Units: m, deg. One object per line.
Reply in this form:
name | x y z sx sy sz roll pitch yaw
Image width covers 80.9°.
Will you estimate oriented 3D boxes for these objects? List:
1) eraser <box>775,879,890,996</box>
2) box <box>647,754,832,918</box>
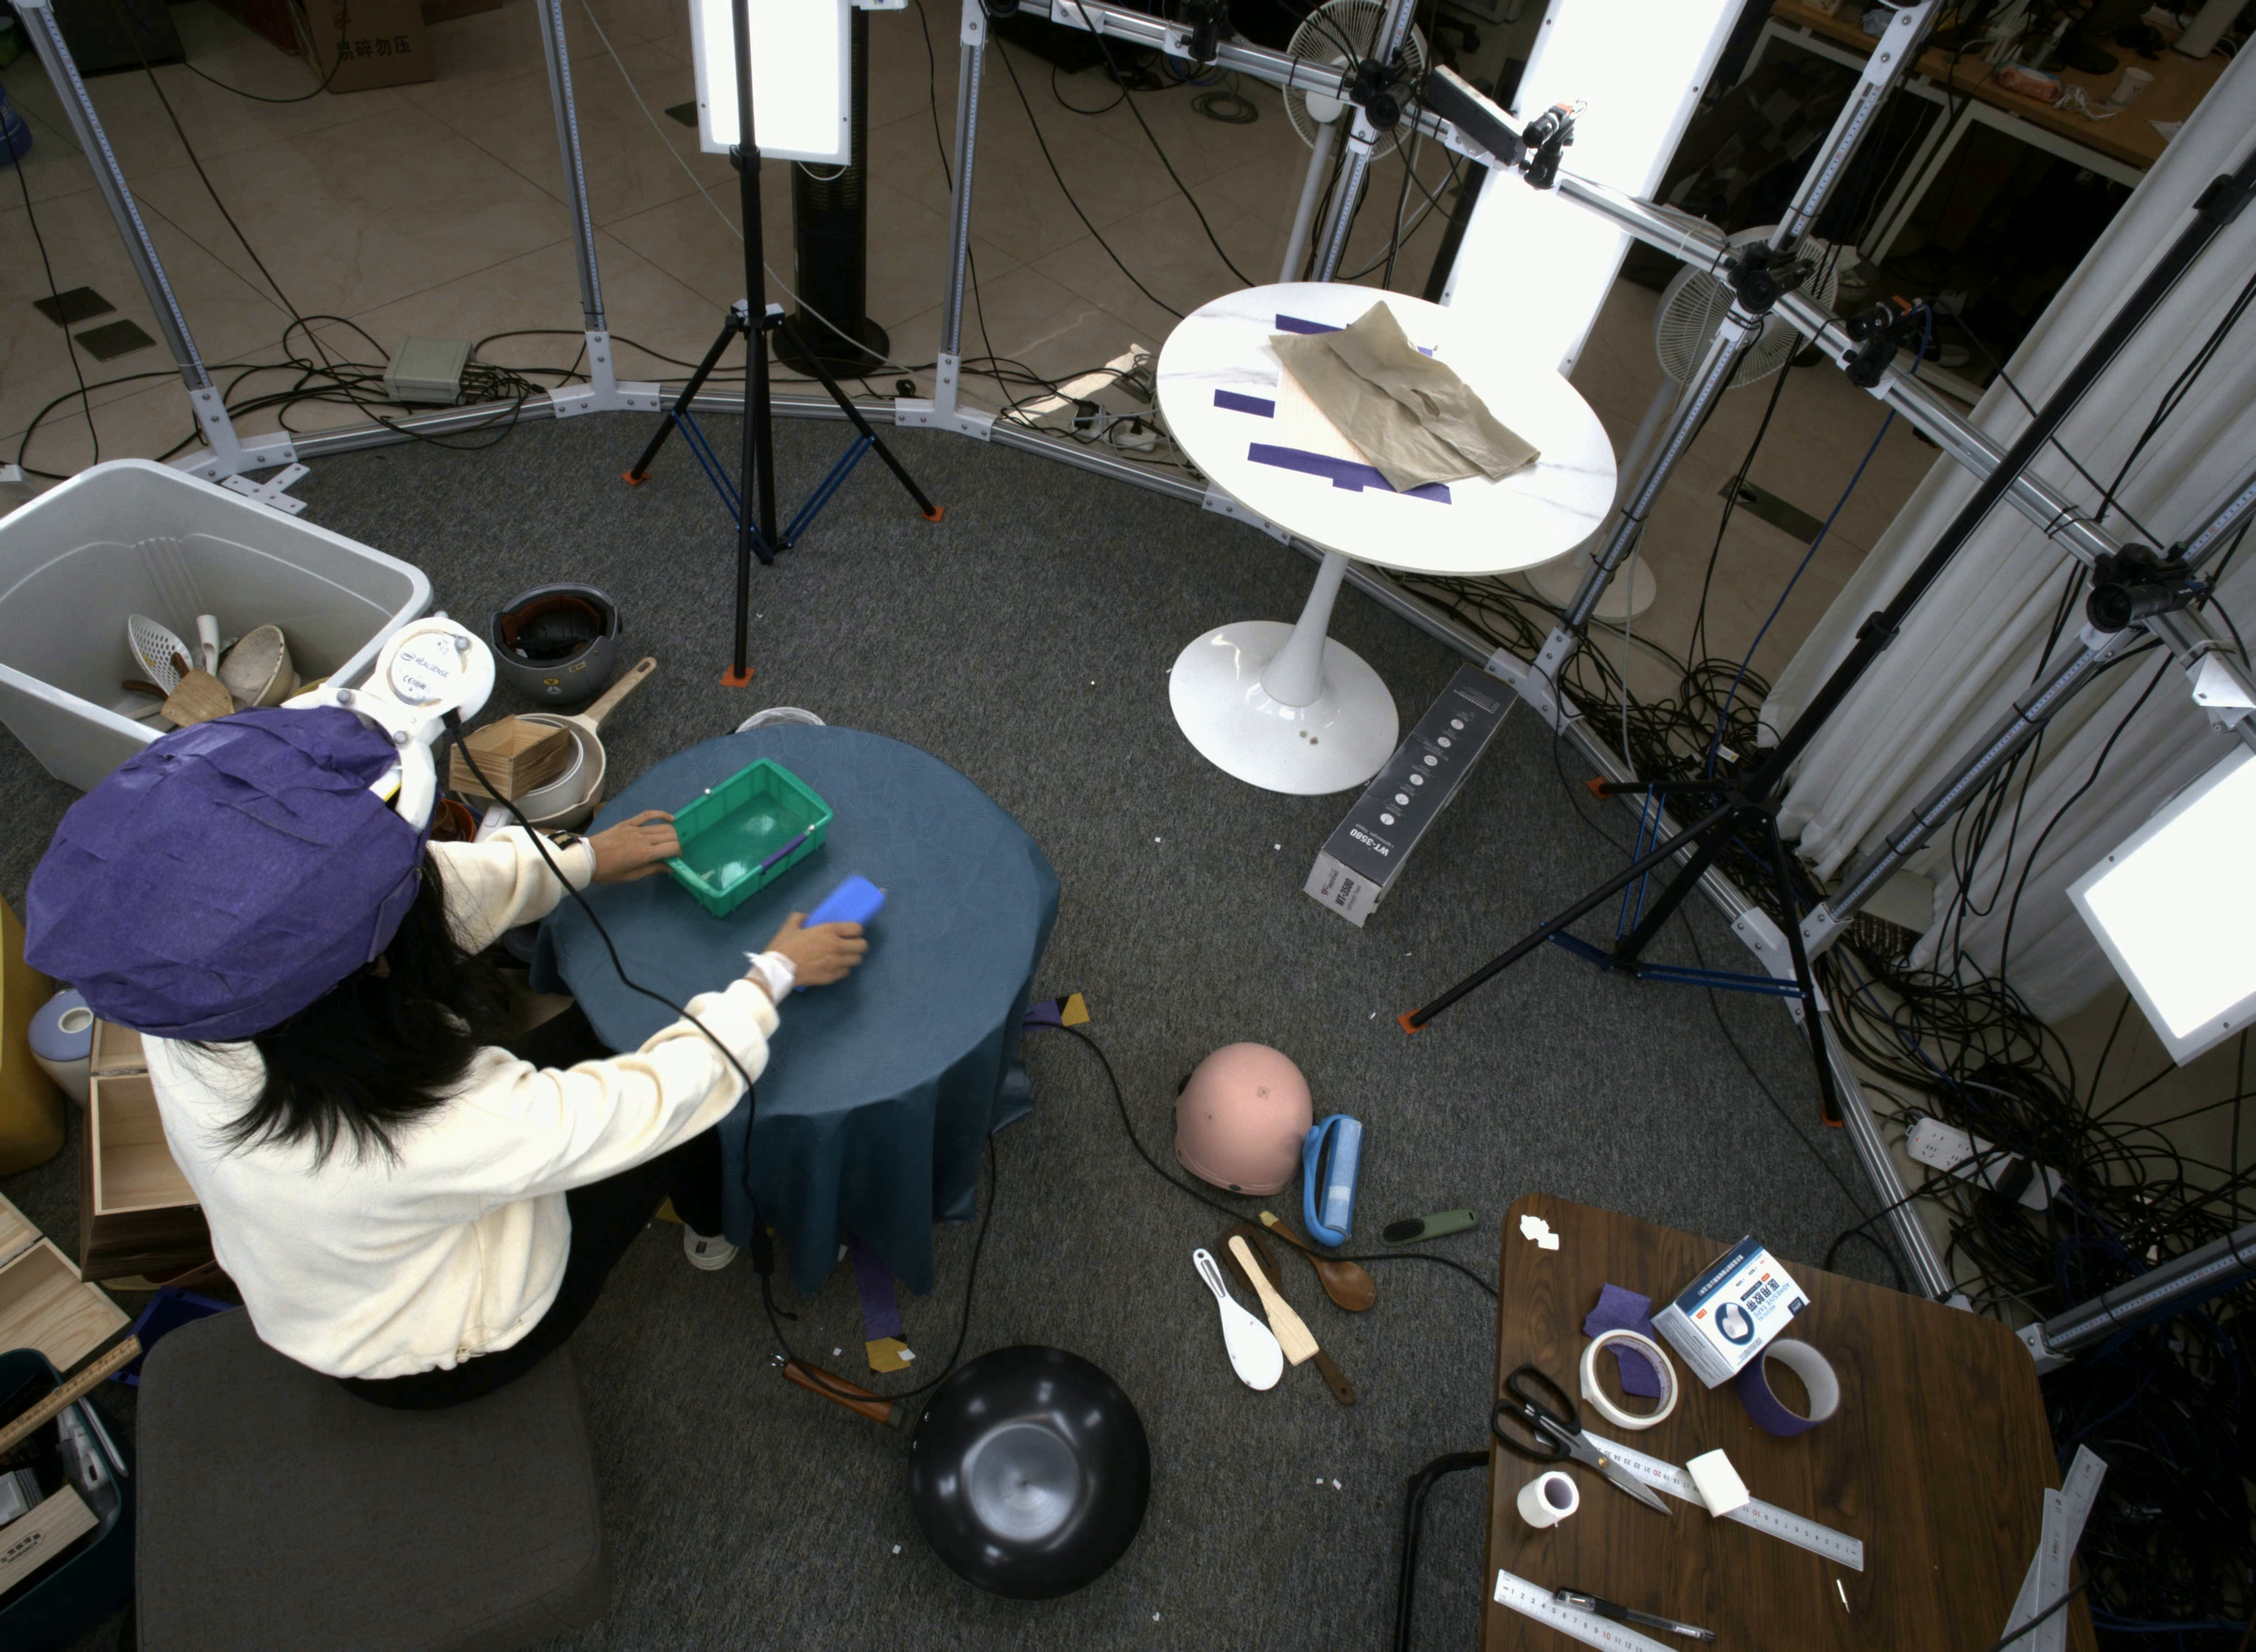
eraser | -0.359 0.131 1.587 0.053 0.048 0.162 40 59 3
box | -0.493 0.013 1.650 0.136 0.066 0.210 38 52 12
